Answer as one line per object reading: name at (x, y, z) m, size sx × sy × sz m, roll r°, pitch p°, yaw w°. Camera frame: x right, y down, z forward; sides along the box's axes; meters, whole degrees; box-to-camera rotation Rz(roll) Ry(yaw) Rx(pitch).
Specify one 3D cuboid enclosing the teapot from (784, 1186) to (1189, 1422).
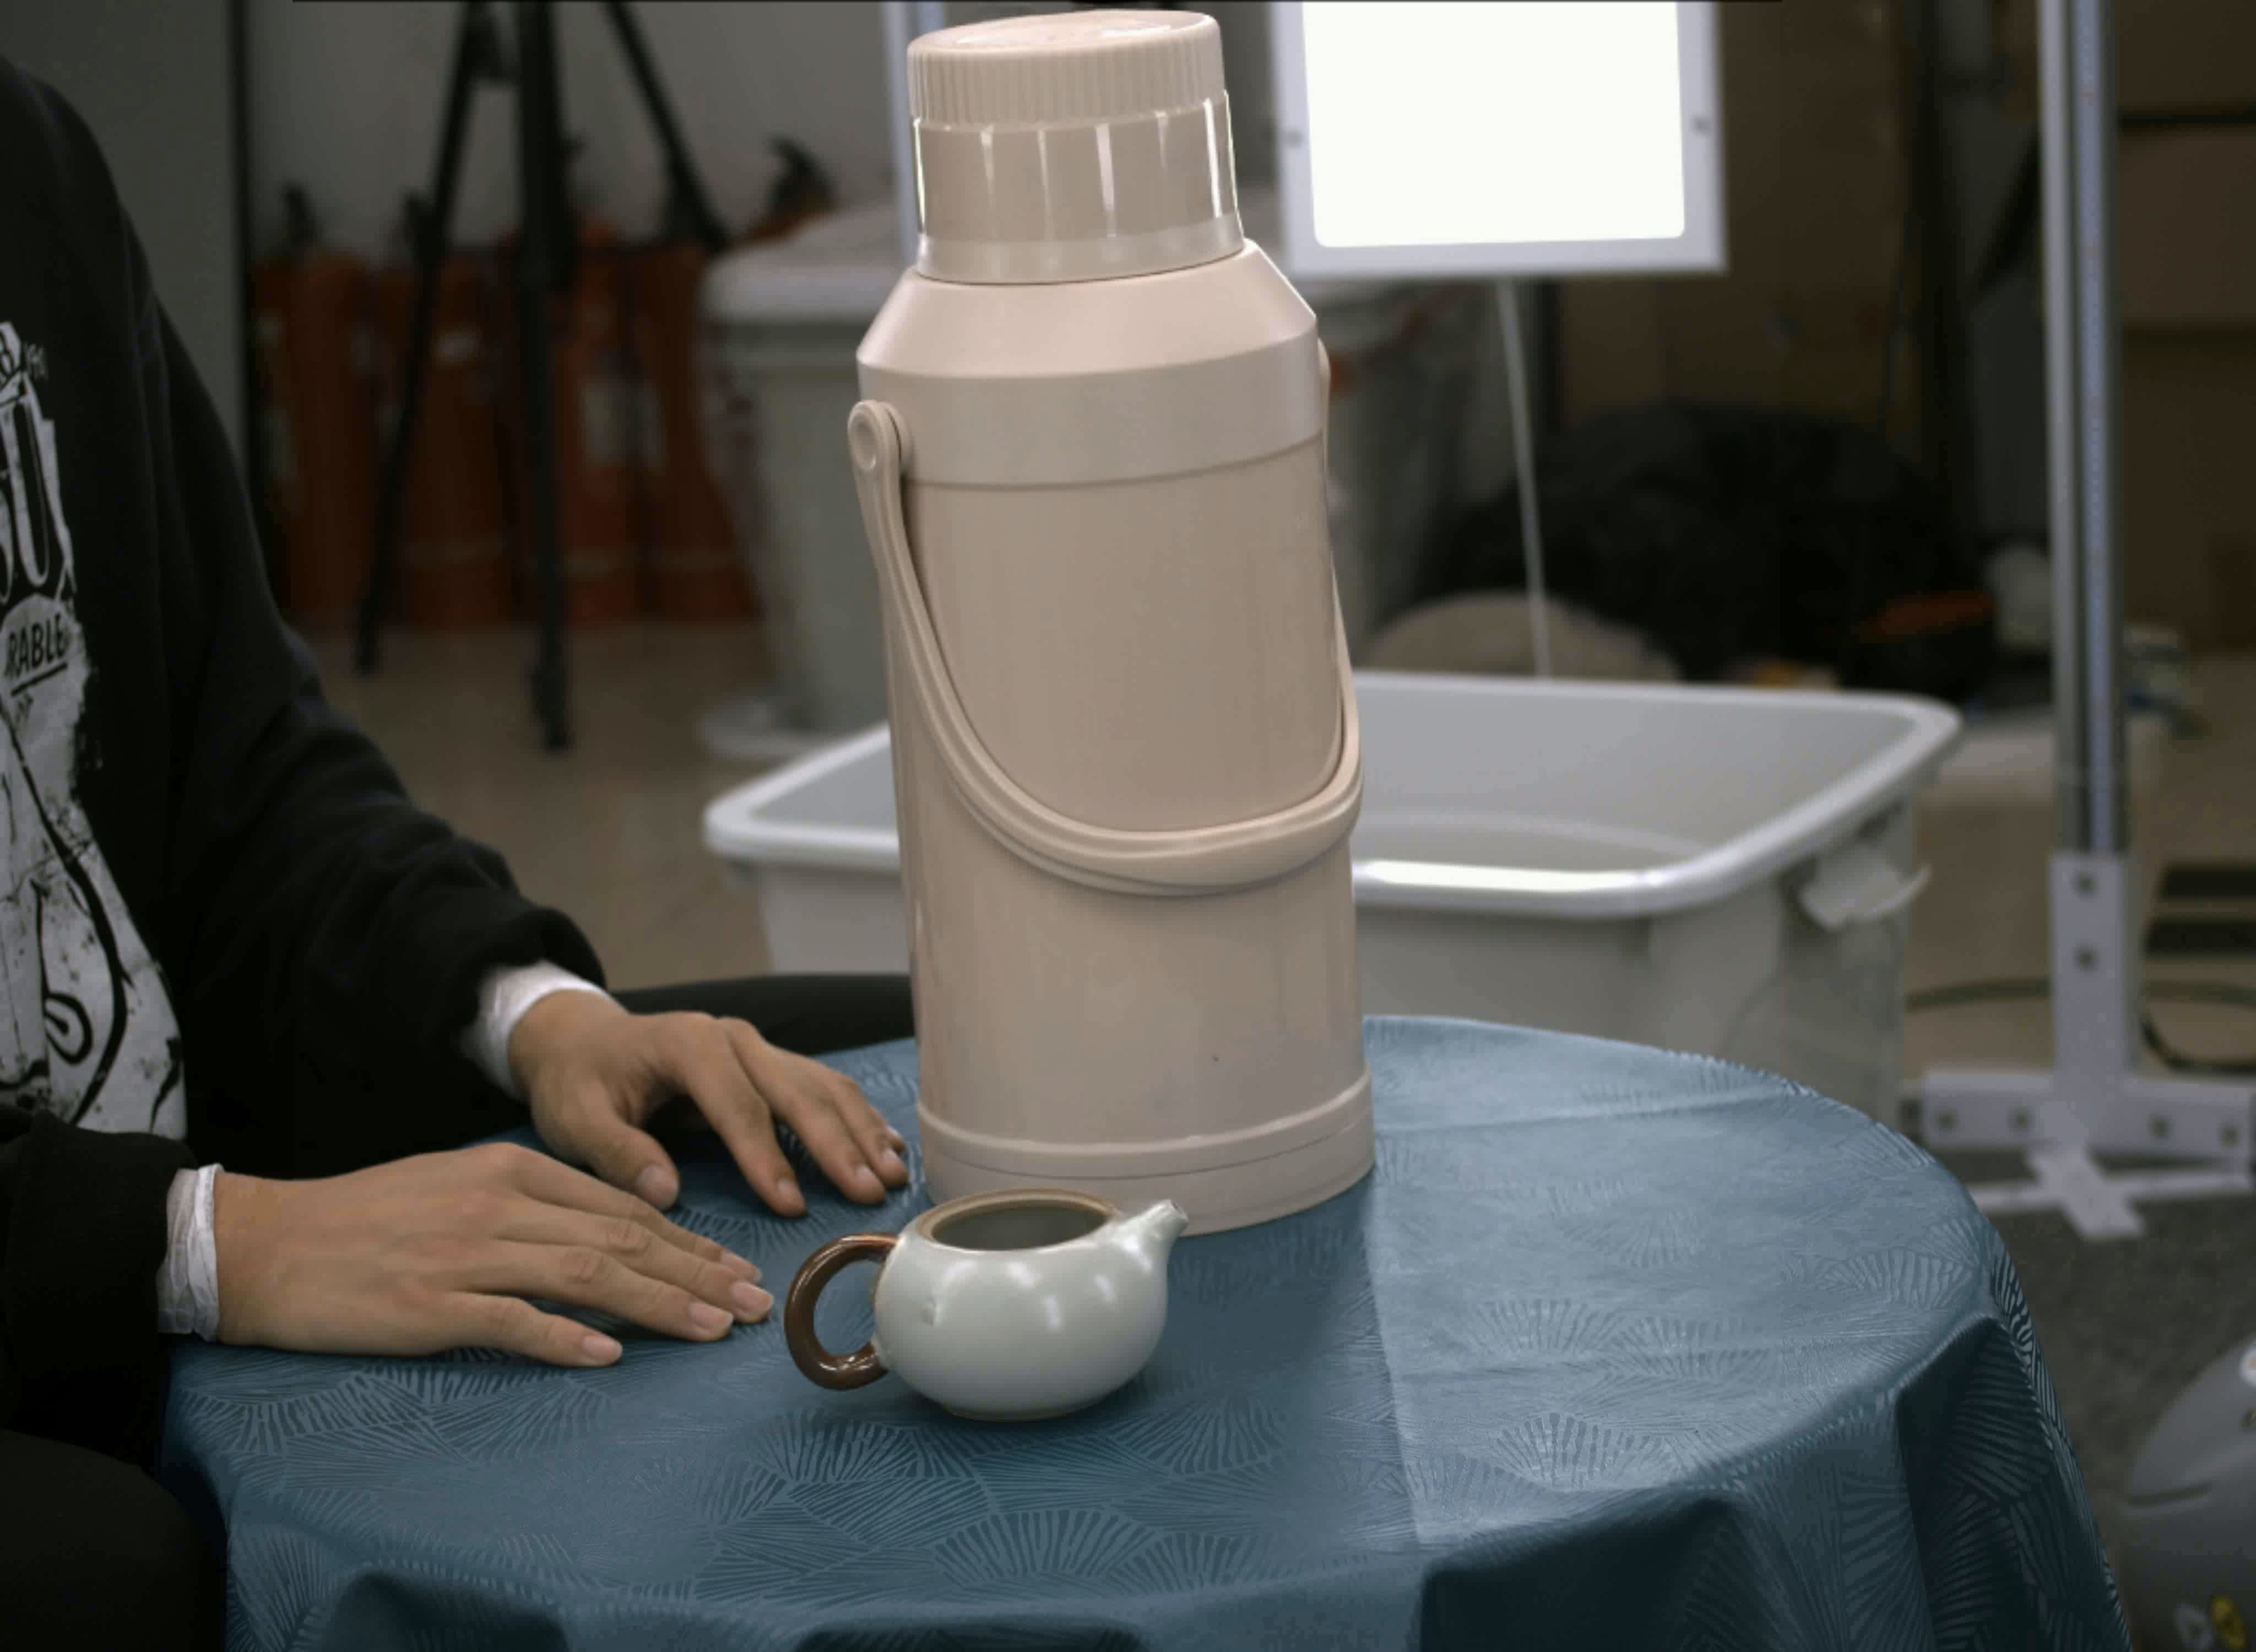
teapot at (-0.043, 0.148, 1.703) m, size 0.127 × 0.060 × 0.092 m, roll -5°, pitch 17°, yaw -6°

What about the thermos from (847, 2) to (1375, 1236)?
thermos at (-0.013, -0.074, 1.888) m, size 0.171 × 0.408 × 0.211 m, roll -14°, pitch 17°, yaw -28°
